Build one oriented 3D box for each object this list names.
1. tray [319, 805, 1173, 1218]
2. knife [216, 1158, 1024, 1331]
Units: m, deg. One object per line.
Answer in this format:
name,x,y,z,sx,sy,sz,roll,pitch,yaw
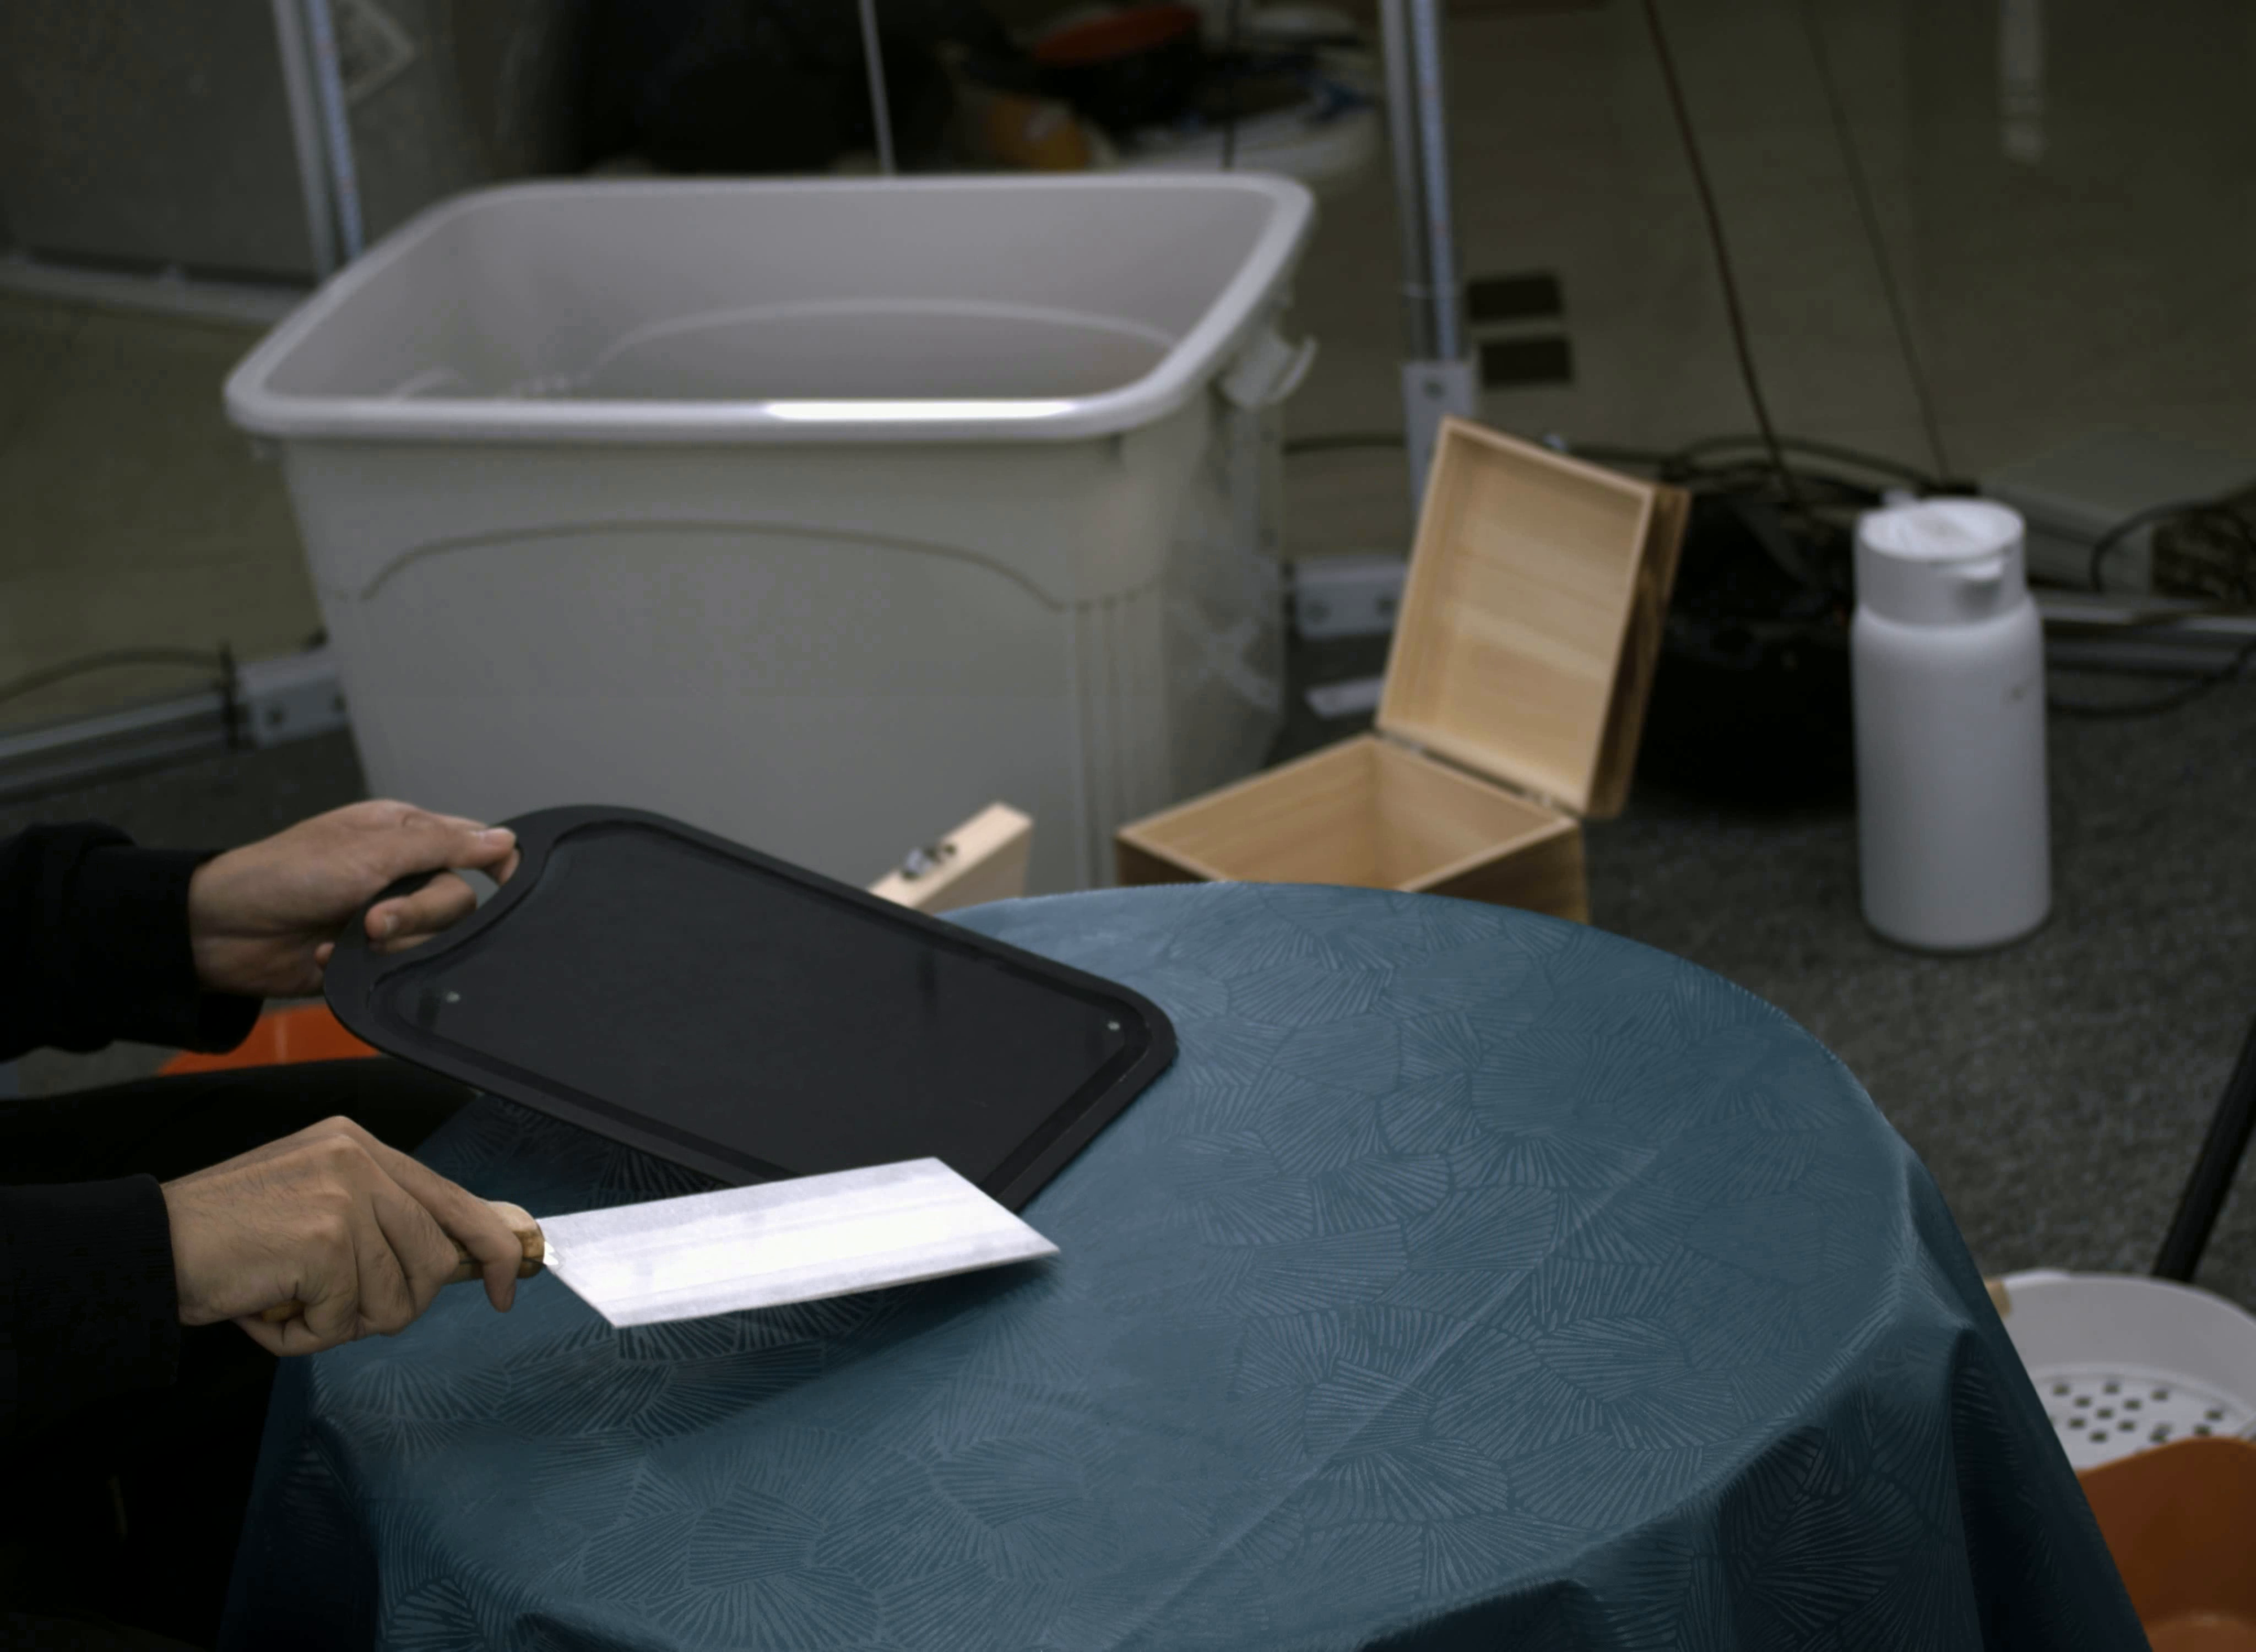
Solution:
tray,-0.157,0.070,2.241,0.323,0.010,0.208,20,34,21
knife,-0.175,0.156,2.048,0.305,0.021,0.092,-7,24,-34
